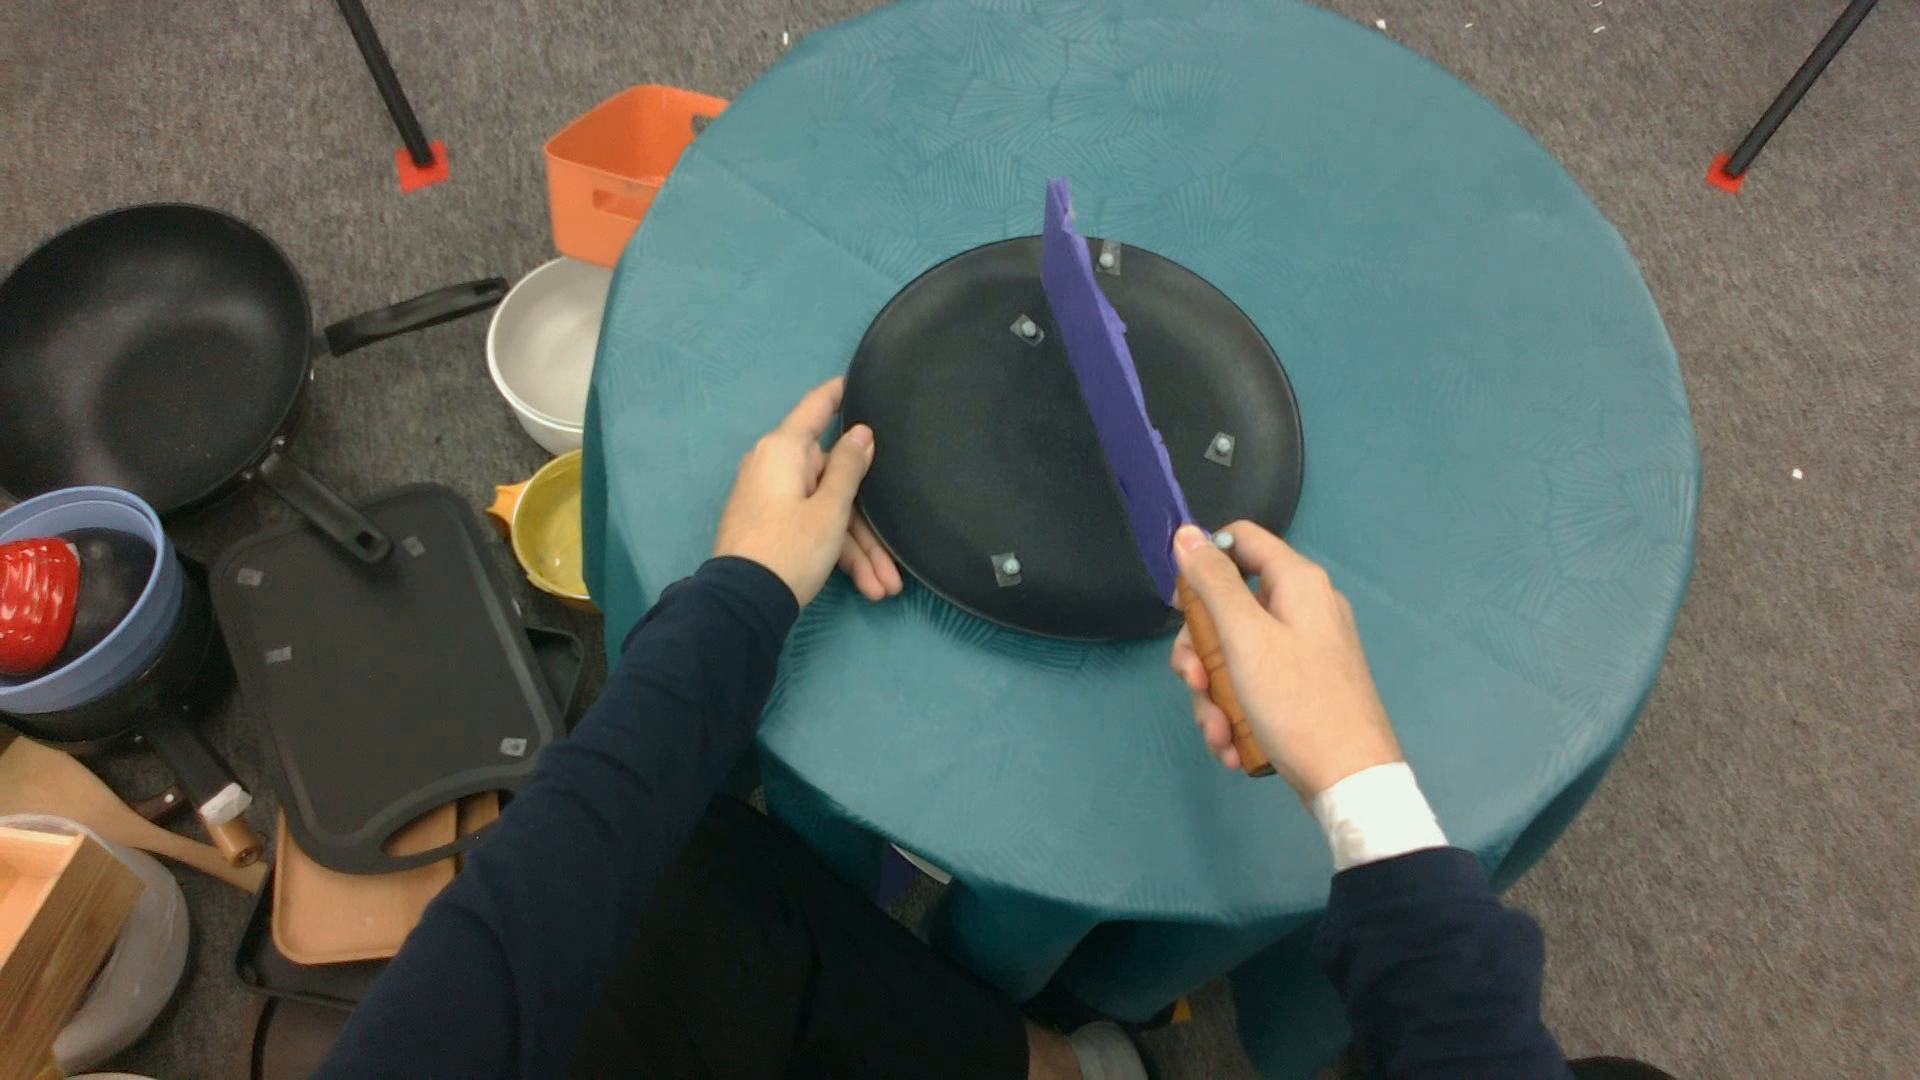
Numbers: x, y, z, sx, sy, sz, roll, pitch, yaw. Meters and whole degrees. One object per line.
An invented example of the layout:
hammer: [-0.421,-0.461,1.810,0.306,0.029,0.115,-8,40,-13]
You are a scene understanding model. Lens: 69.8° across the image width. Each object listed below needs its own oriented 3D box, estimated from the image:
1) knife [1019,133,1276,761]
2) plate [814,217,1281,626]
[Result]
knife: [0.080,-0.041,0.657,0.032,0.103,0.316,-13,68,-6]
plate: [0.046,-0.065,0.720,0.244,0.023,0.245,2,64,-5]
